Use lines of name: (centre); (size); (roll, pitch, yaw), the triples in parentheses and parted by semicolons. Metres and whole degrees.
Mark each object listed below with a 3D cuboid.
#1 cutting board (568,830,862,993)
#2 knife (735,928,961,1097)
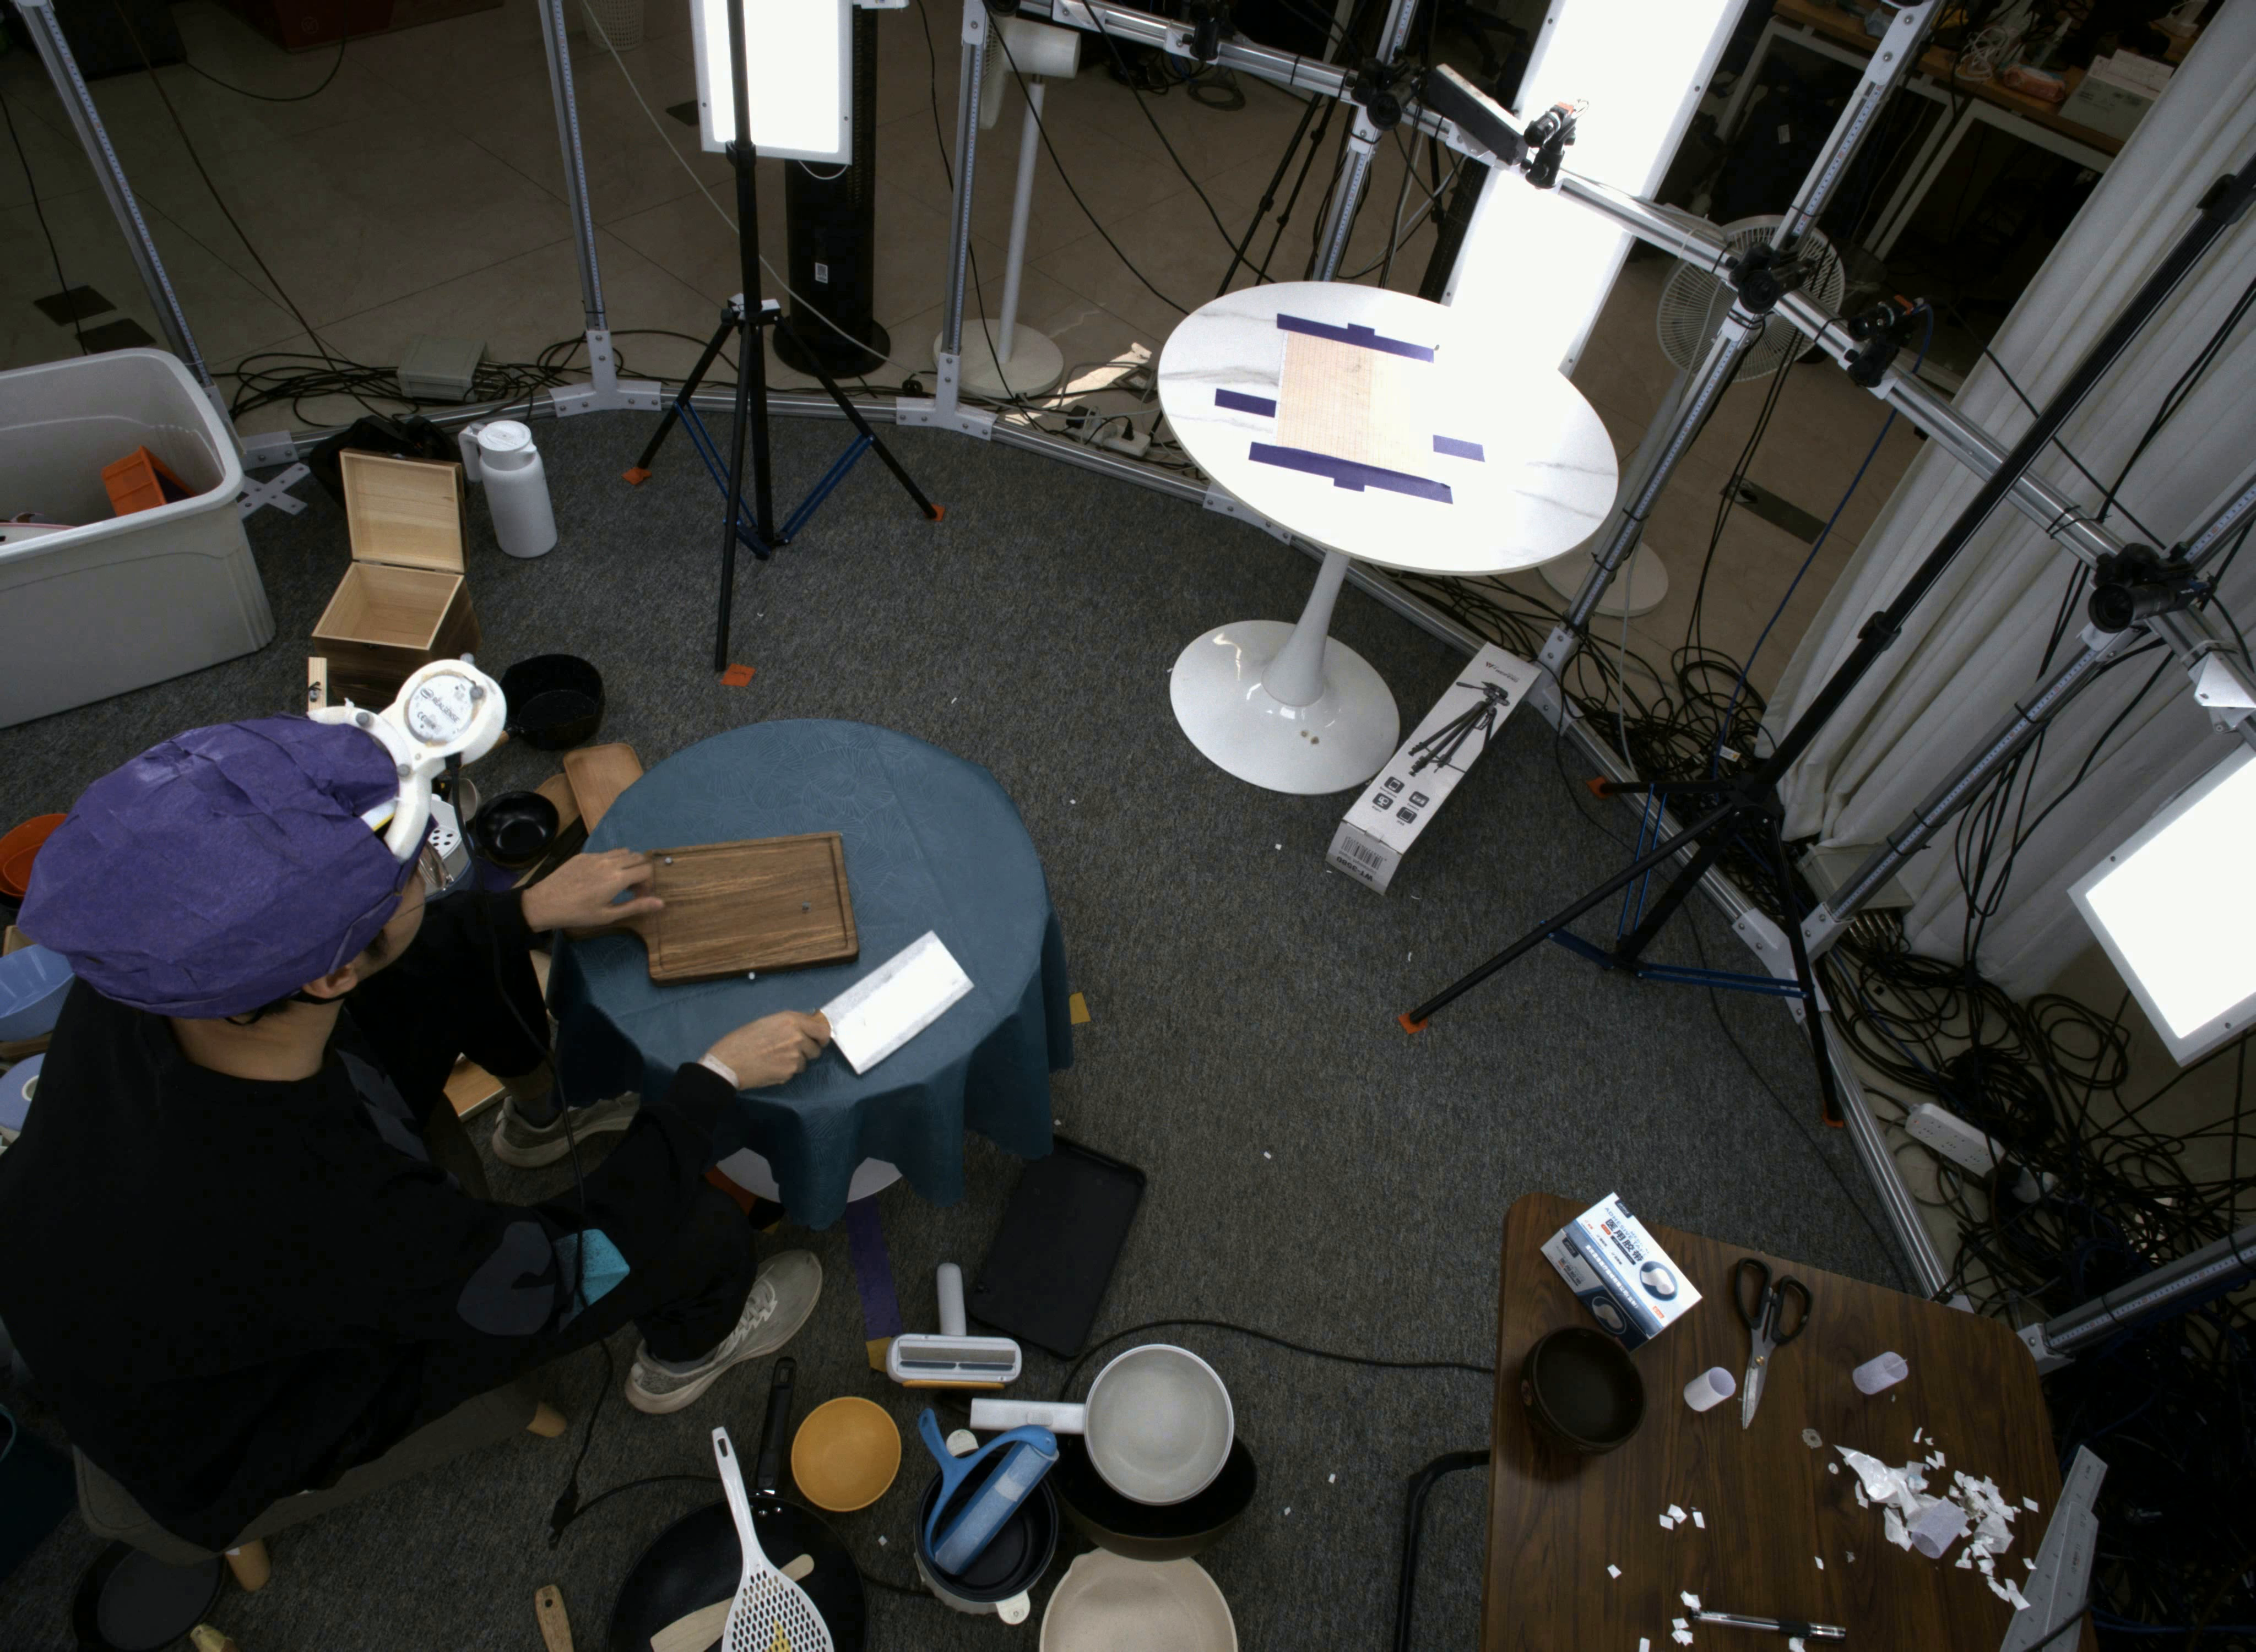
cutting board: (-0.519, 0.105, 1.596); (0.354, 0.023, 0.196); (-7, 56, -20)
knife: (-0.318, 0.233, 1.533); (0.306, 0.020, 0.094); (-37, 98, -36)
